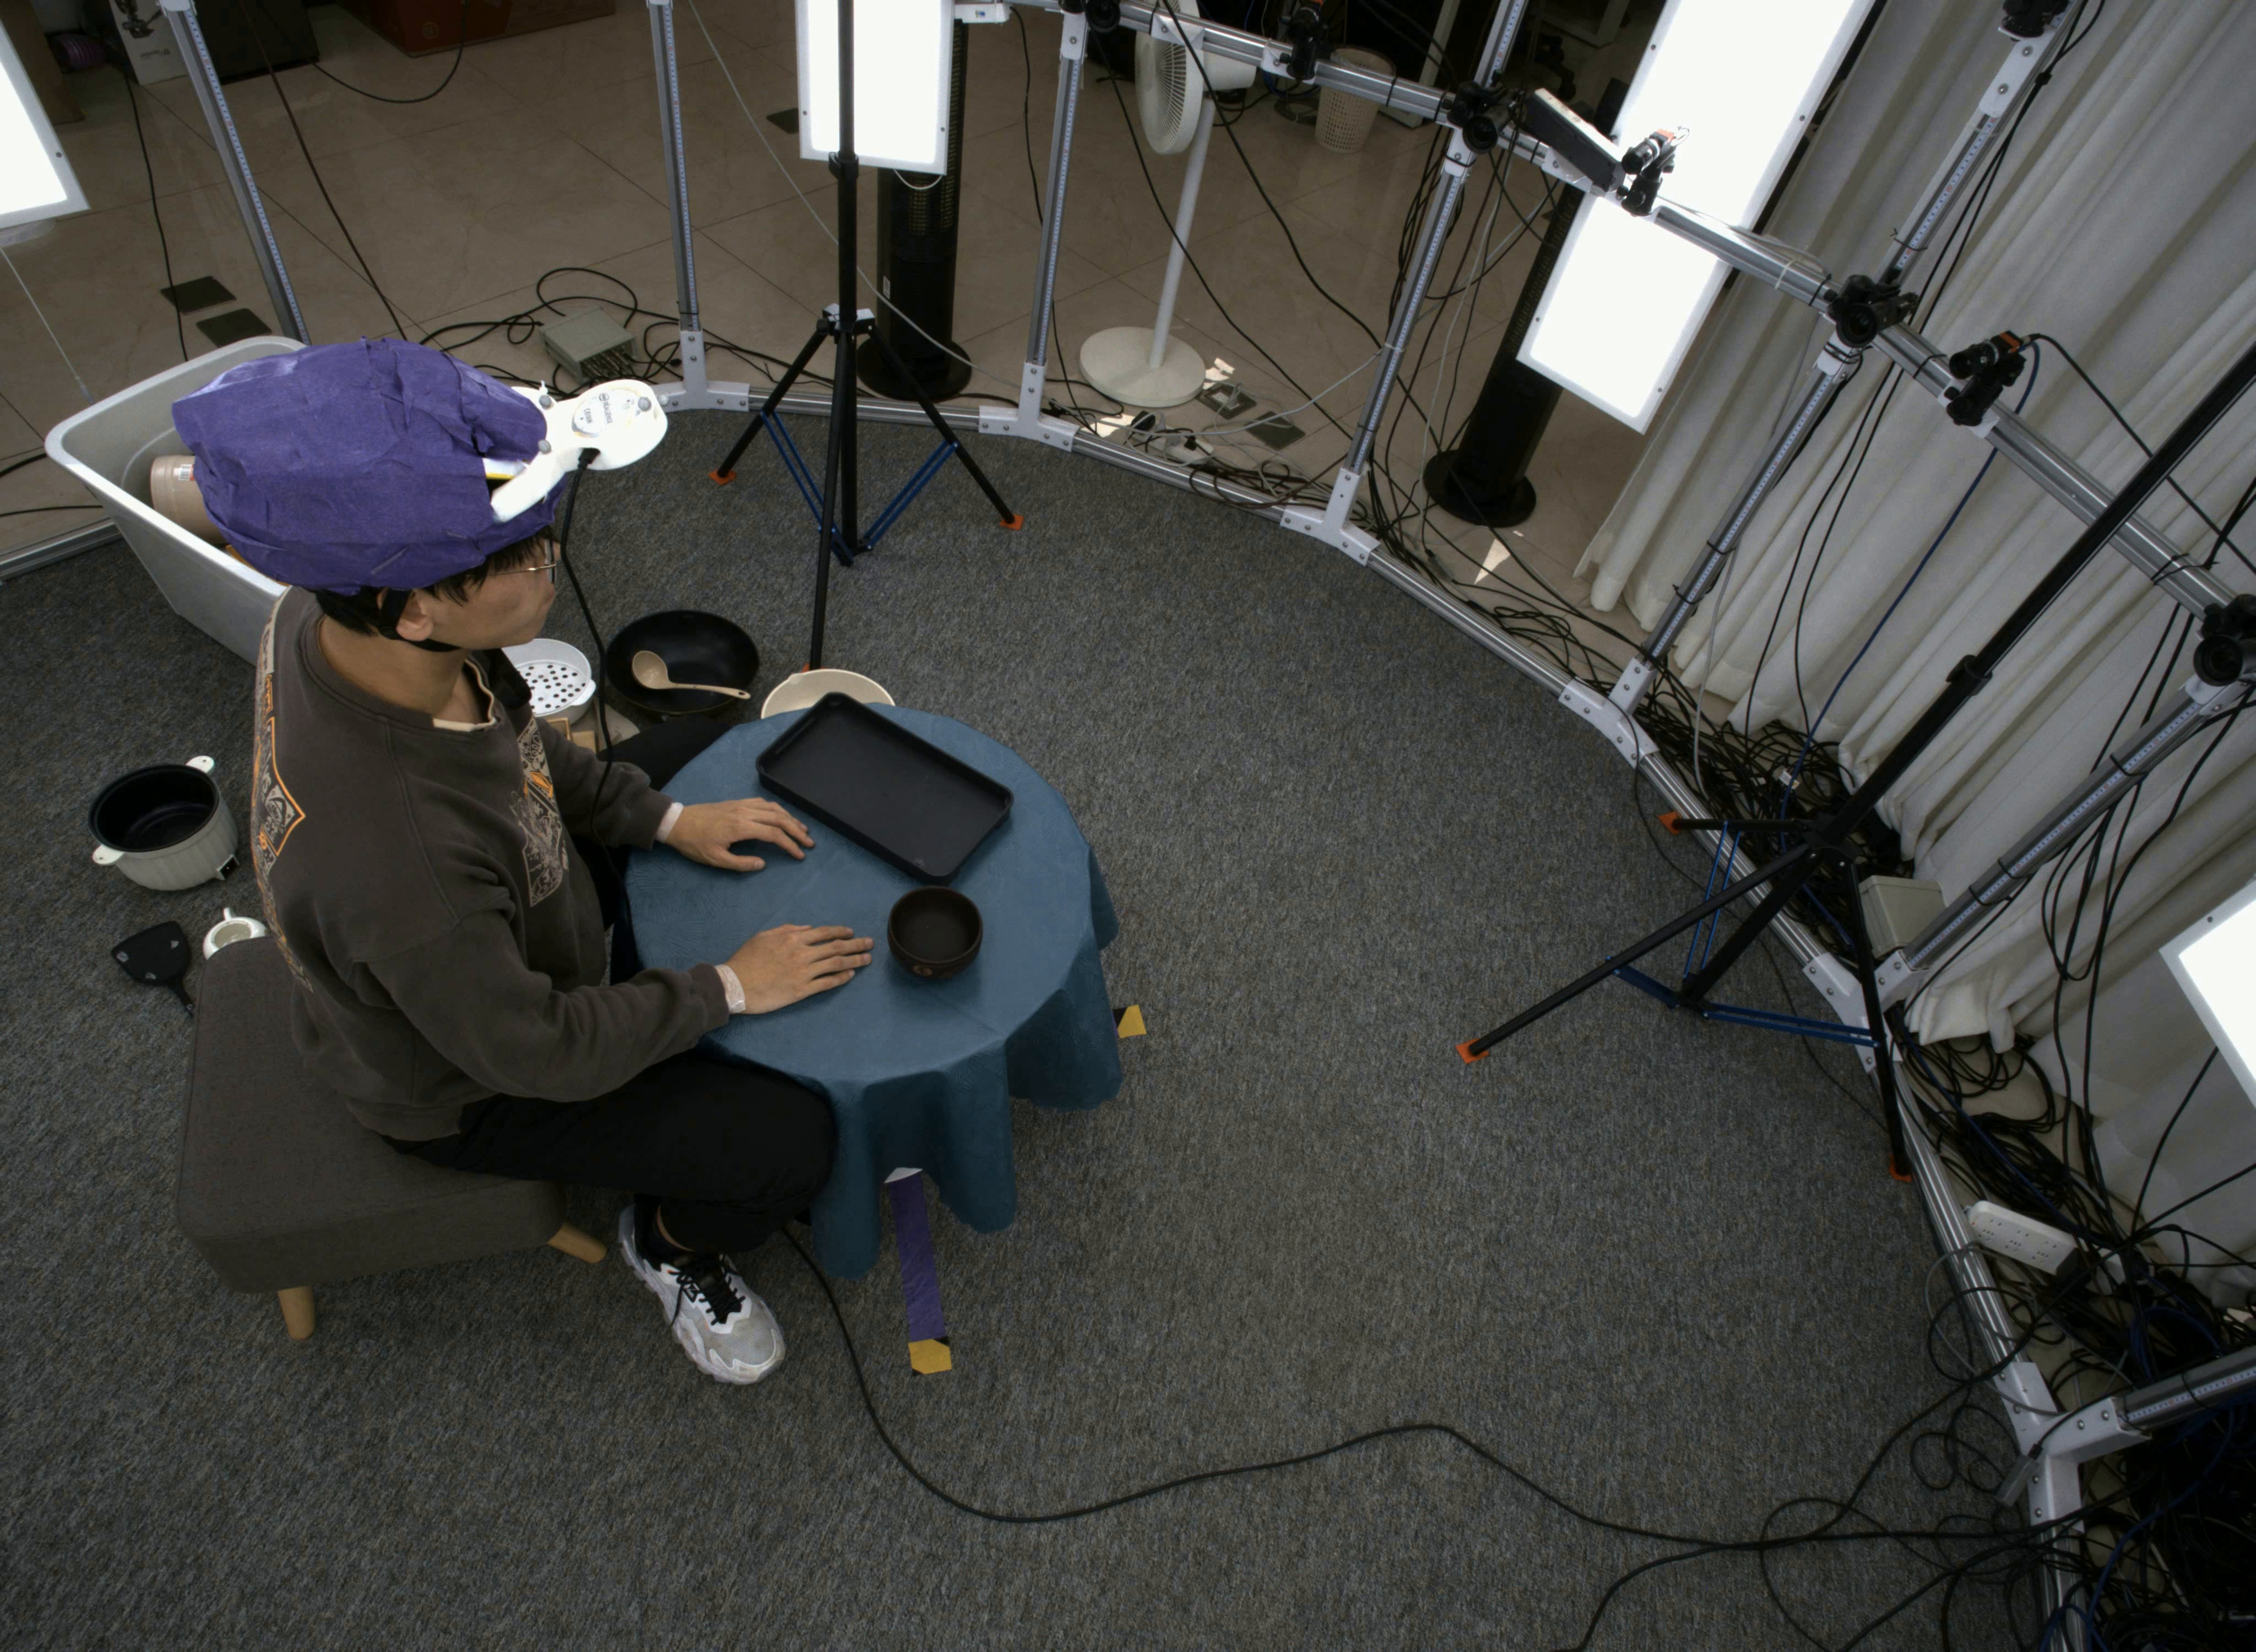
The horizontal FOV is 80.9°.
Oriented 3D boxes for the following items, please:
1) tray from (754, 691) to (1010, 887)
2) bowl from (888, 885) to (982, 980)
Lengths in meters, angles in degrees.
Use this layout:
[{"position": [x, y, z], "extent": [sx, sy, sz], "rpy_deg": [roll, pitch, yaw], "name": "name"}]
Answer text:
[{"position": [-0.334, -0.054, 1.778], "extent": [0.313, 0.038, 0.183], "rpy_deg": [29, 54, 8], "name": "tray"}, {"position": [-0.242, 0.140, 1.634], "extent": [0.117, 0.071, 0.116], "rpy_deg": [6, 54, -7], "name": "bowl"}]
